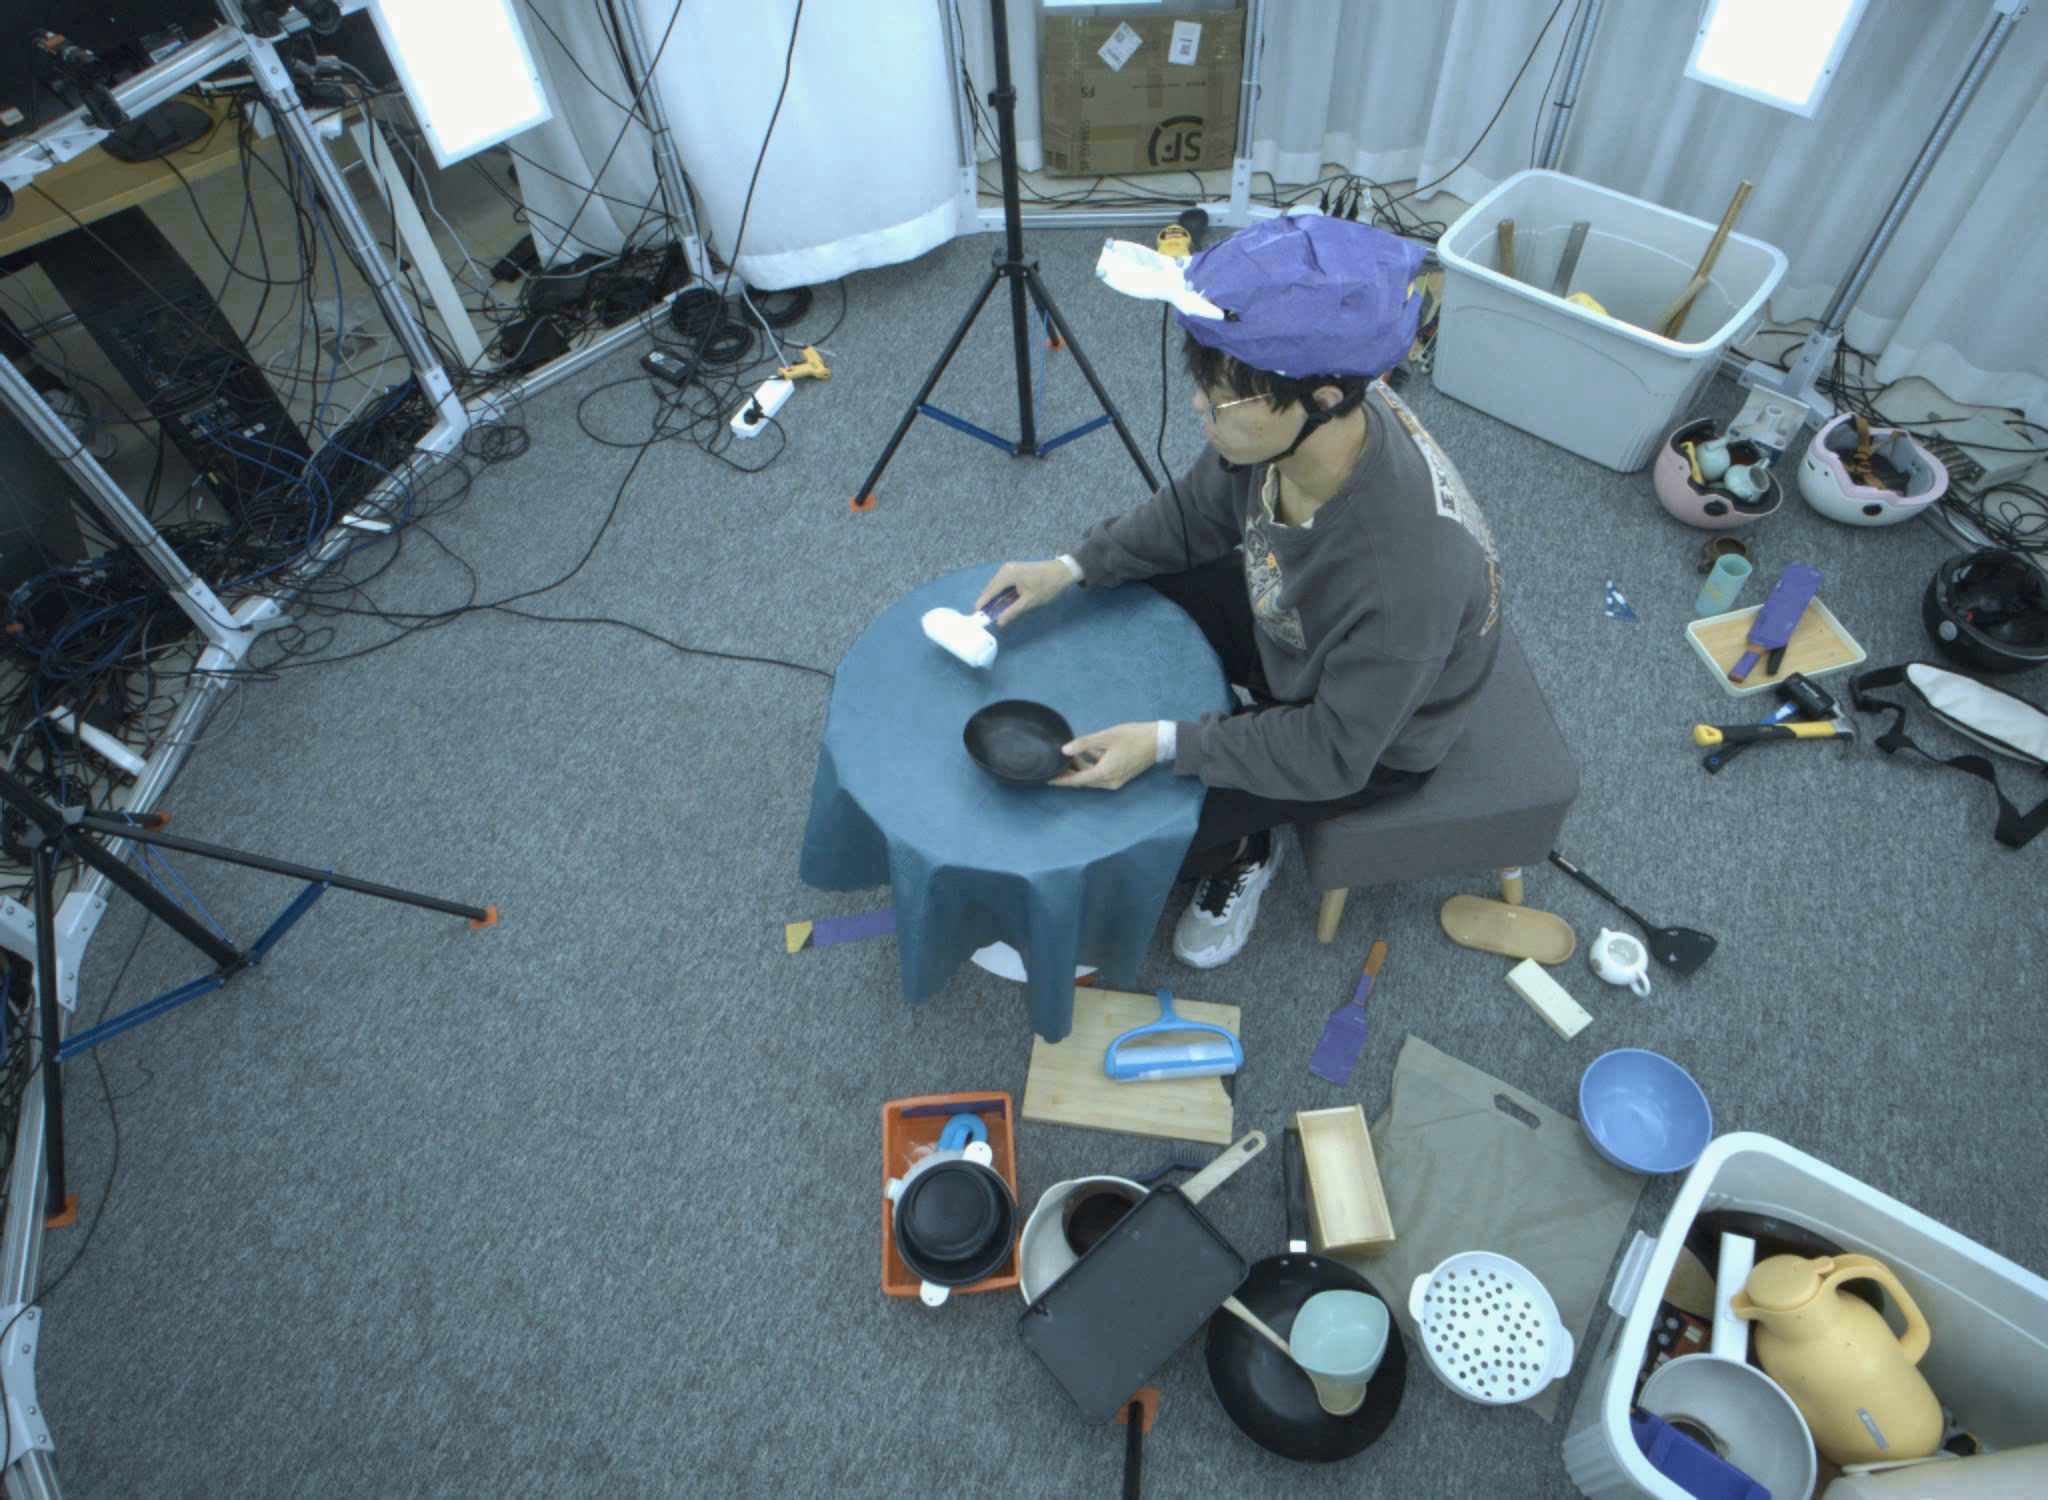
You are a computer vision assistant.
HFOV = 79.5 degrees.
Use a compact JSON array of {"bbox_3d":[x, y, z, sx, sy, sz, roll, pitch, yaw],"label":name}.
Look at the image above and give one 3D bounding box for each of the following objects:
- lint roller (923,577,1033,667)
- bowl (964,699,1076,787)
[{"bbox_3d":[-0.053,-0.212,1.862,0.130,0.051,0.181,37,73,29],"label":"lint roller"},{"bbox_3d":[-0.006,0.001,1.746,0.168,0.067,0.138,24,58,20],"label":"bowl"}]
